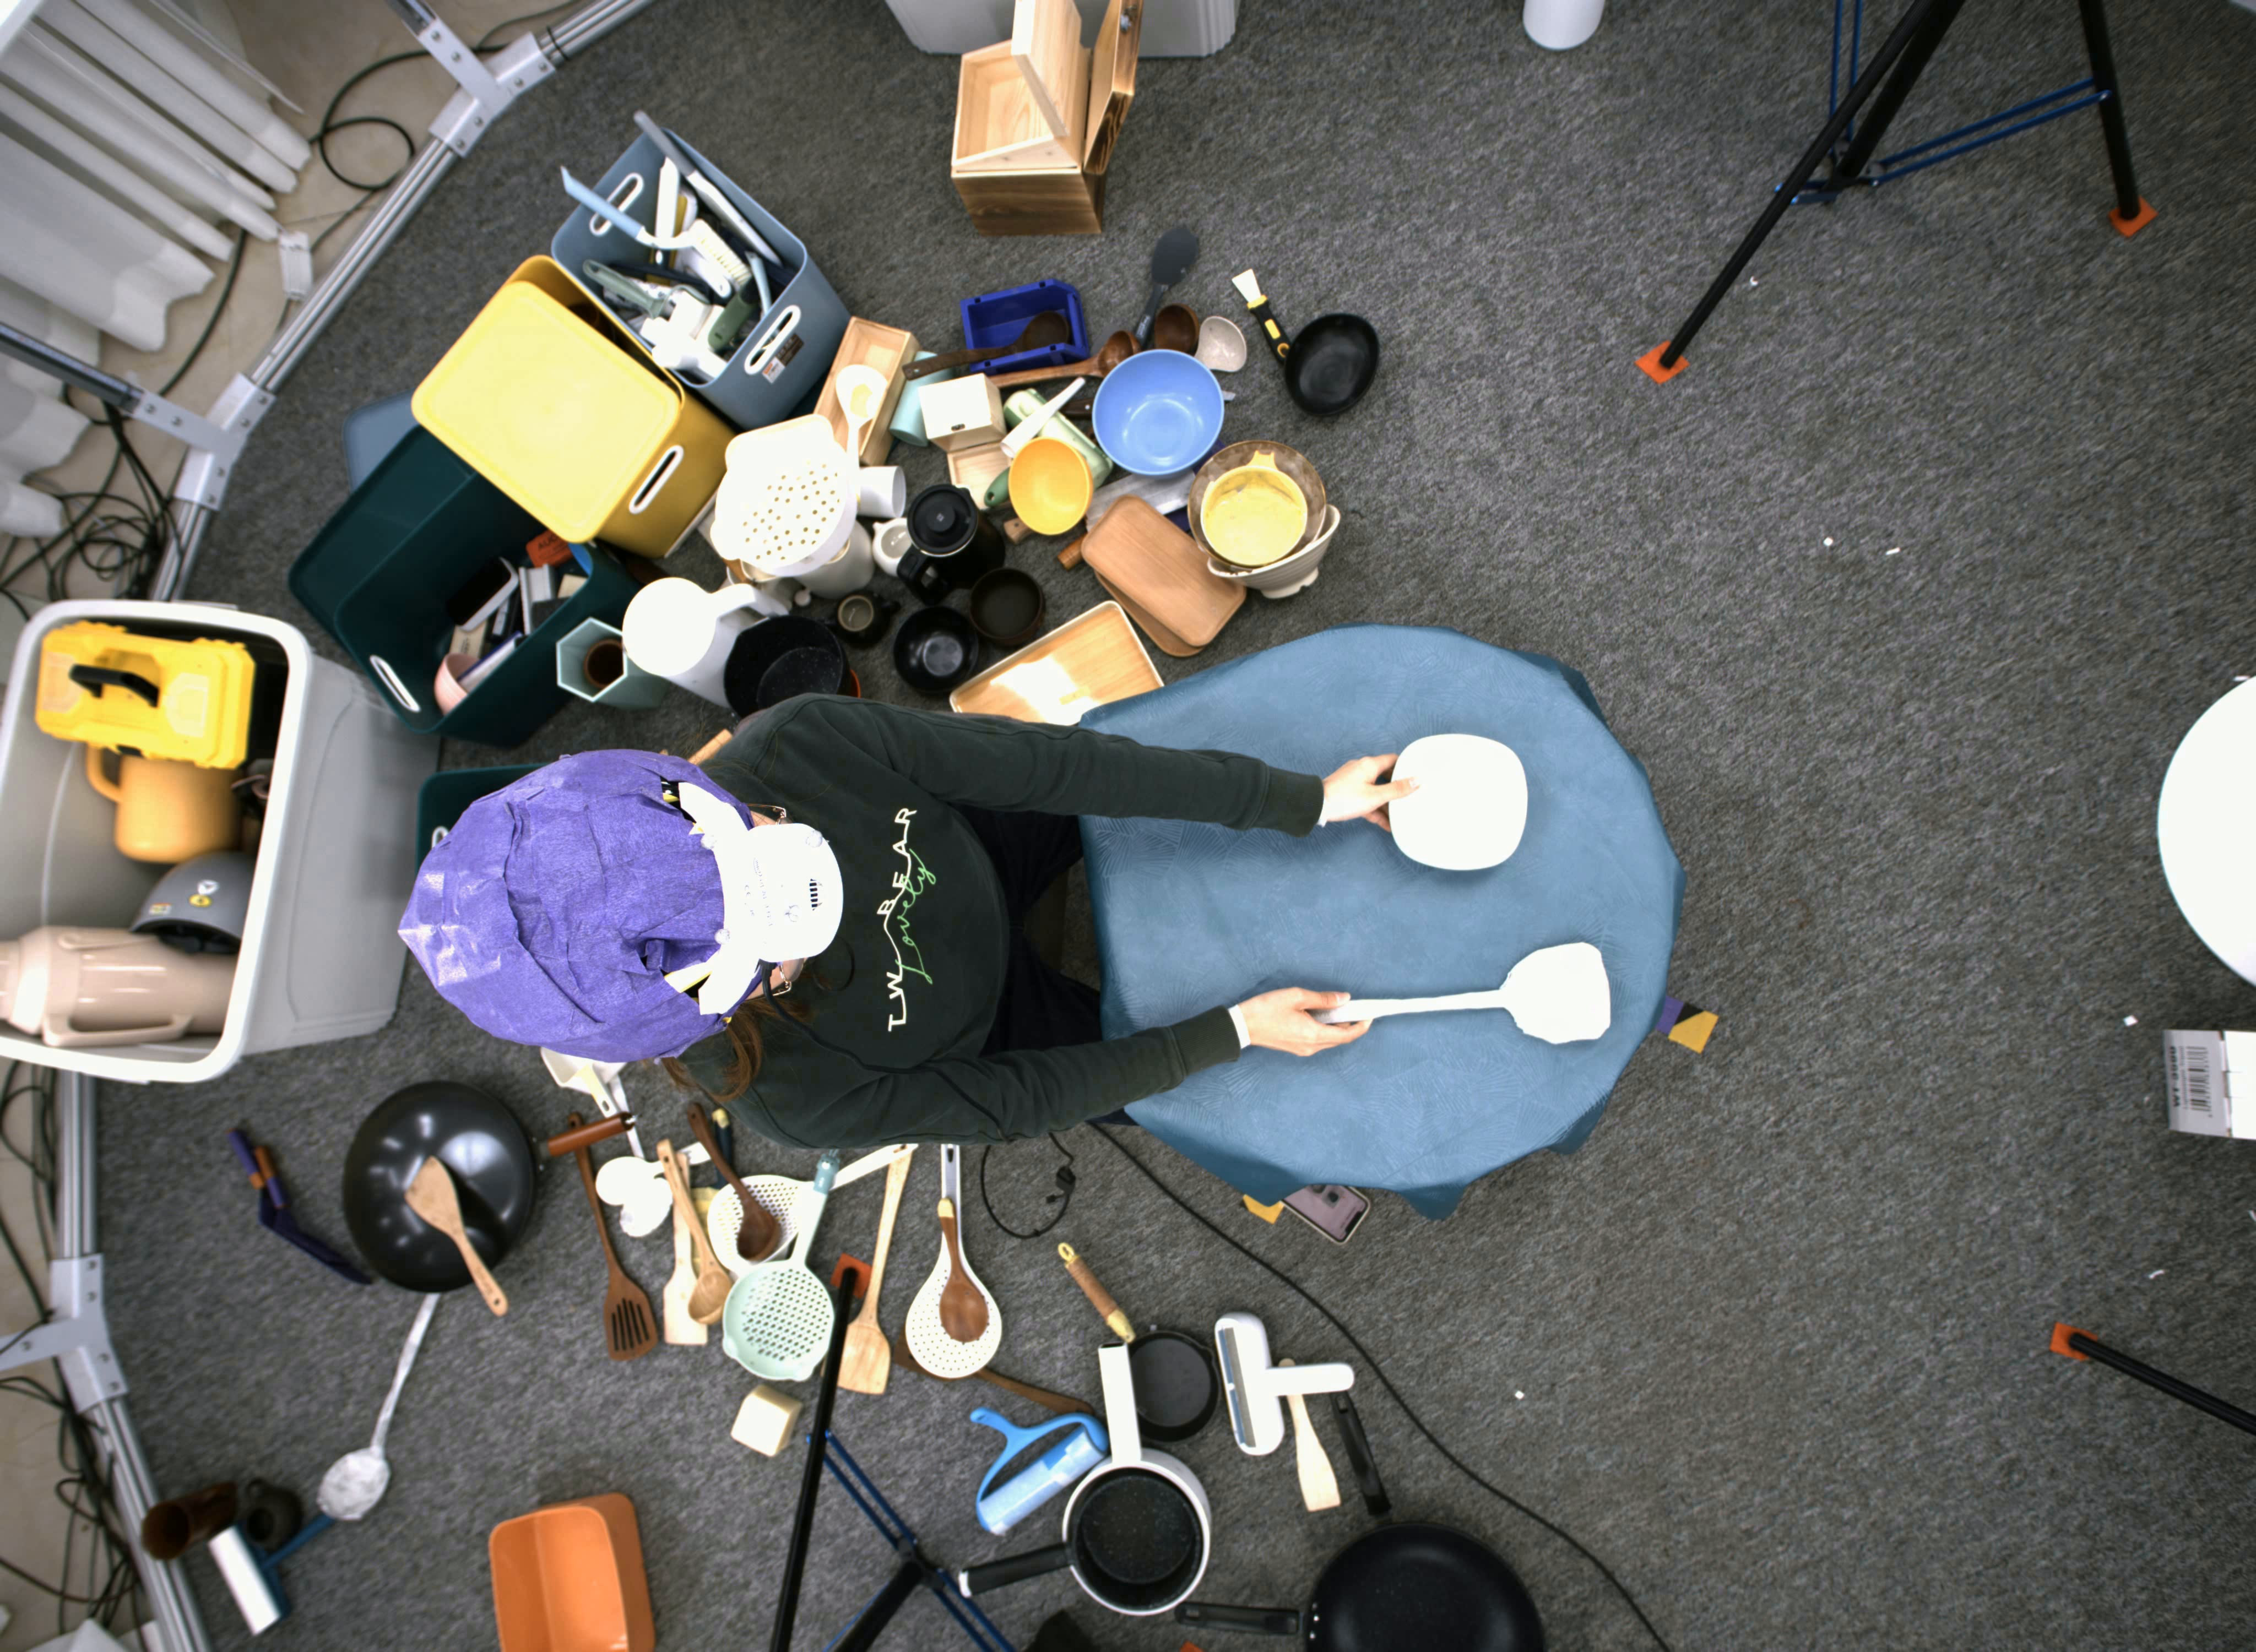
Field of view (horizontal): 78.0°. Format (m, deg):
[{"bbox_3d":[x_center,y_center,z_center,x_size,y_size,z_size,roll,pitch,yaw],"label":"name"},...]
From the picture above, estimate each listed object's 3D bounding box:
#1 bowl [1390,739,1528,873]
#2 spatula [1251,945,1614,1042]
[{"bbox_3d":[0.341,-0.018,1.429,0.152,0.059,0.150,-1,83,8],"label":"bowl"},{"bbox_3d":[0.309,0.180,1.419,0.366,0.045,0.098,-5,84,6],"label":"spatula"}]
